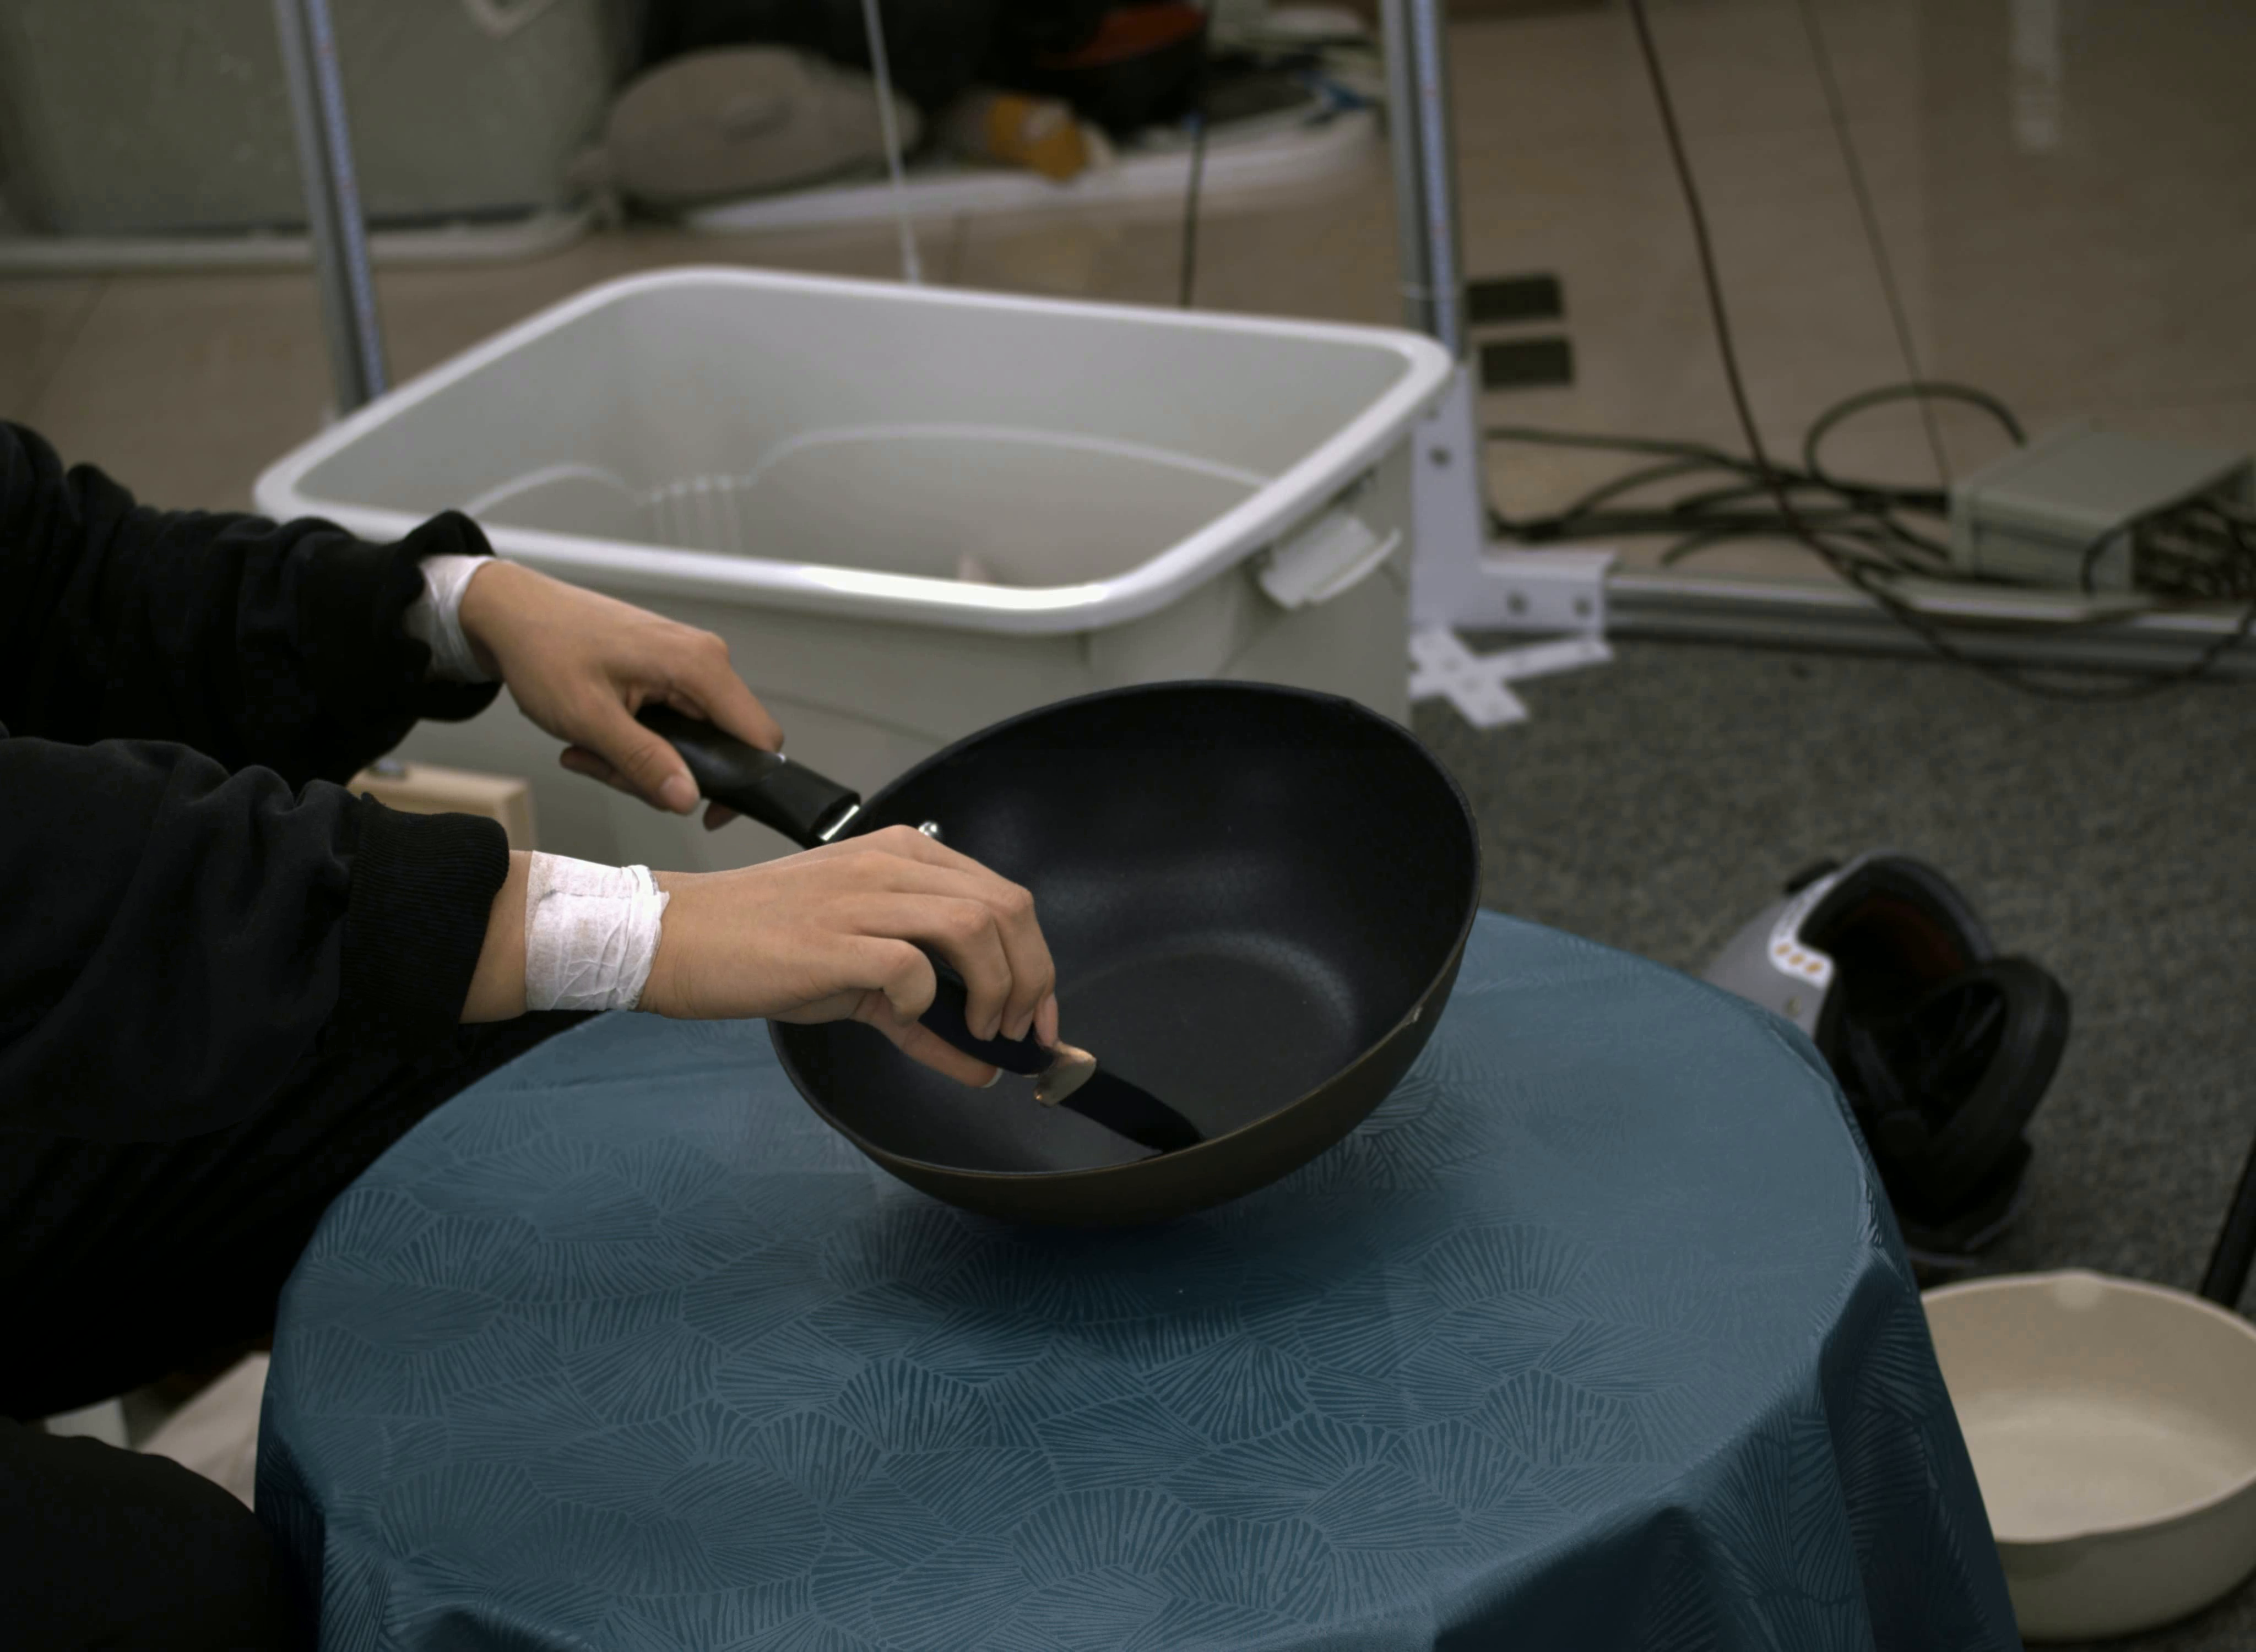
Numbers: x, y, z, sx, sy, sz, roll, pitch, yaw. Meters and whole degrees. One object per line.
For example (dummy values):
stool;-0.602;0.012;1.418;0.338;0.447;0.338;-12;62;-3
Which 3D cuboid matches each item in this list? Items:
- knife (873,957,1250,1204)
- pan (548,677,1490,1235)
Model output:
knife;-0.018;0.092;2.008;0.026;0.228;0.017;-48;48;9
pan;-0.061;0.039;2.222;0.459;0.088;0.285;21;52;37
